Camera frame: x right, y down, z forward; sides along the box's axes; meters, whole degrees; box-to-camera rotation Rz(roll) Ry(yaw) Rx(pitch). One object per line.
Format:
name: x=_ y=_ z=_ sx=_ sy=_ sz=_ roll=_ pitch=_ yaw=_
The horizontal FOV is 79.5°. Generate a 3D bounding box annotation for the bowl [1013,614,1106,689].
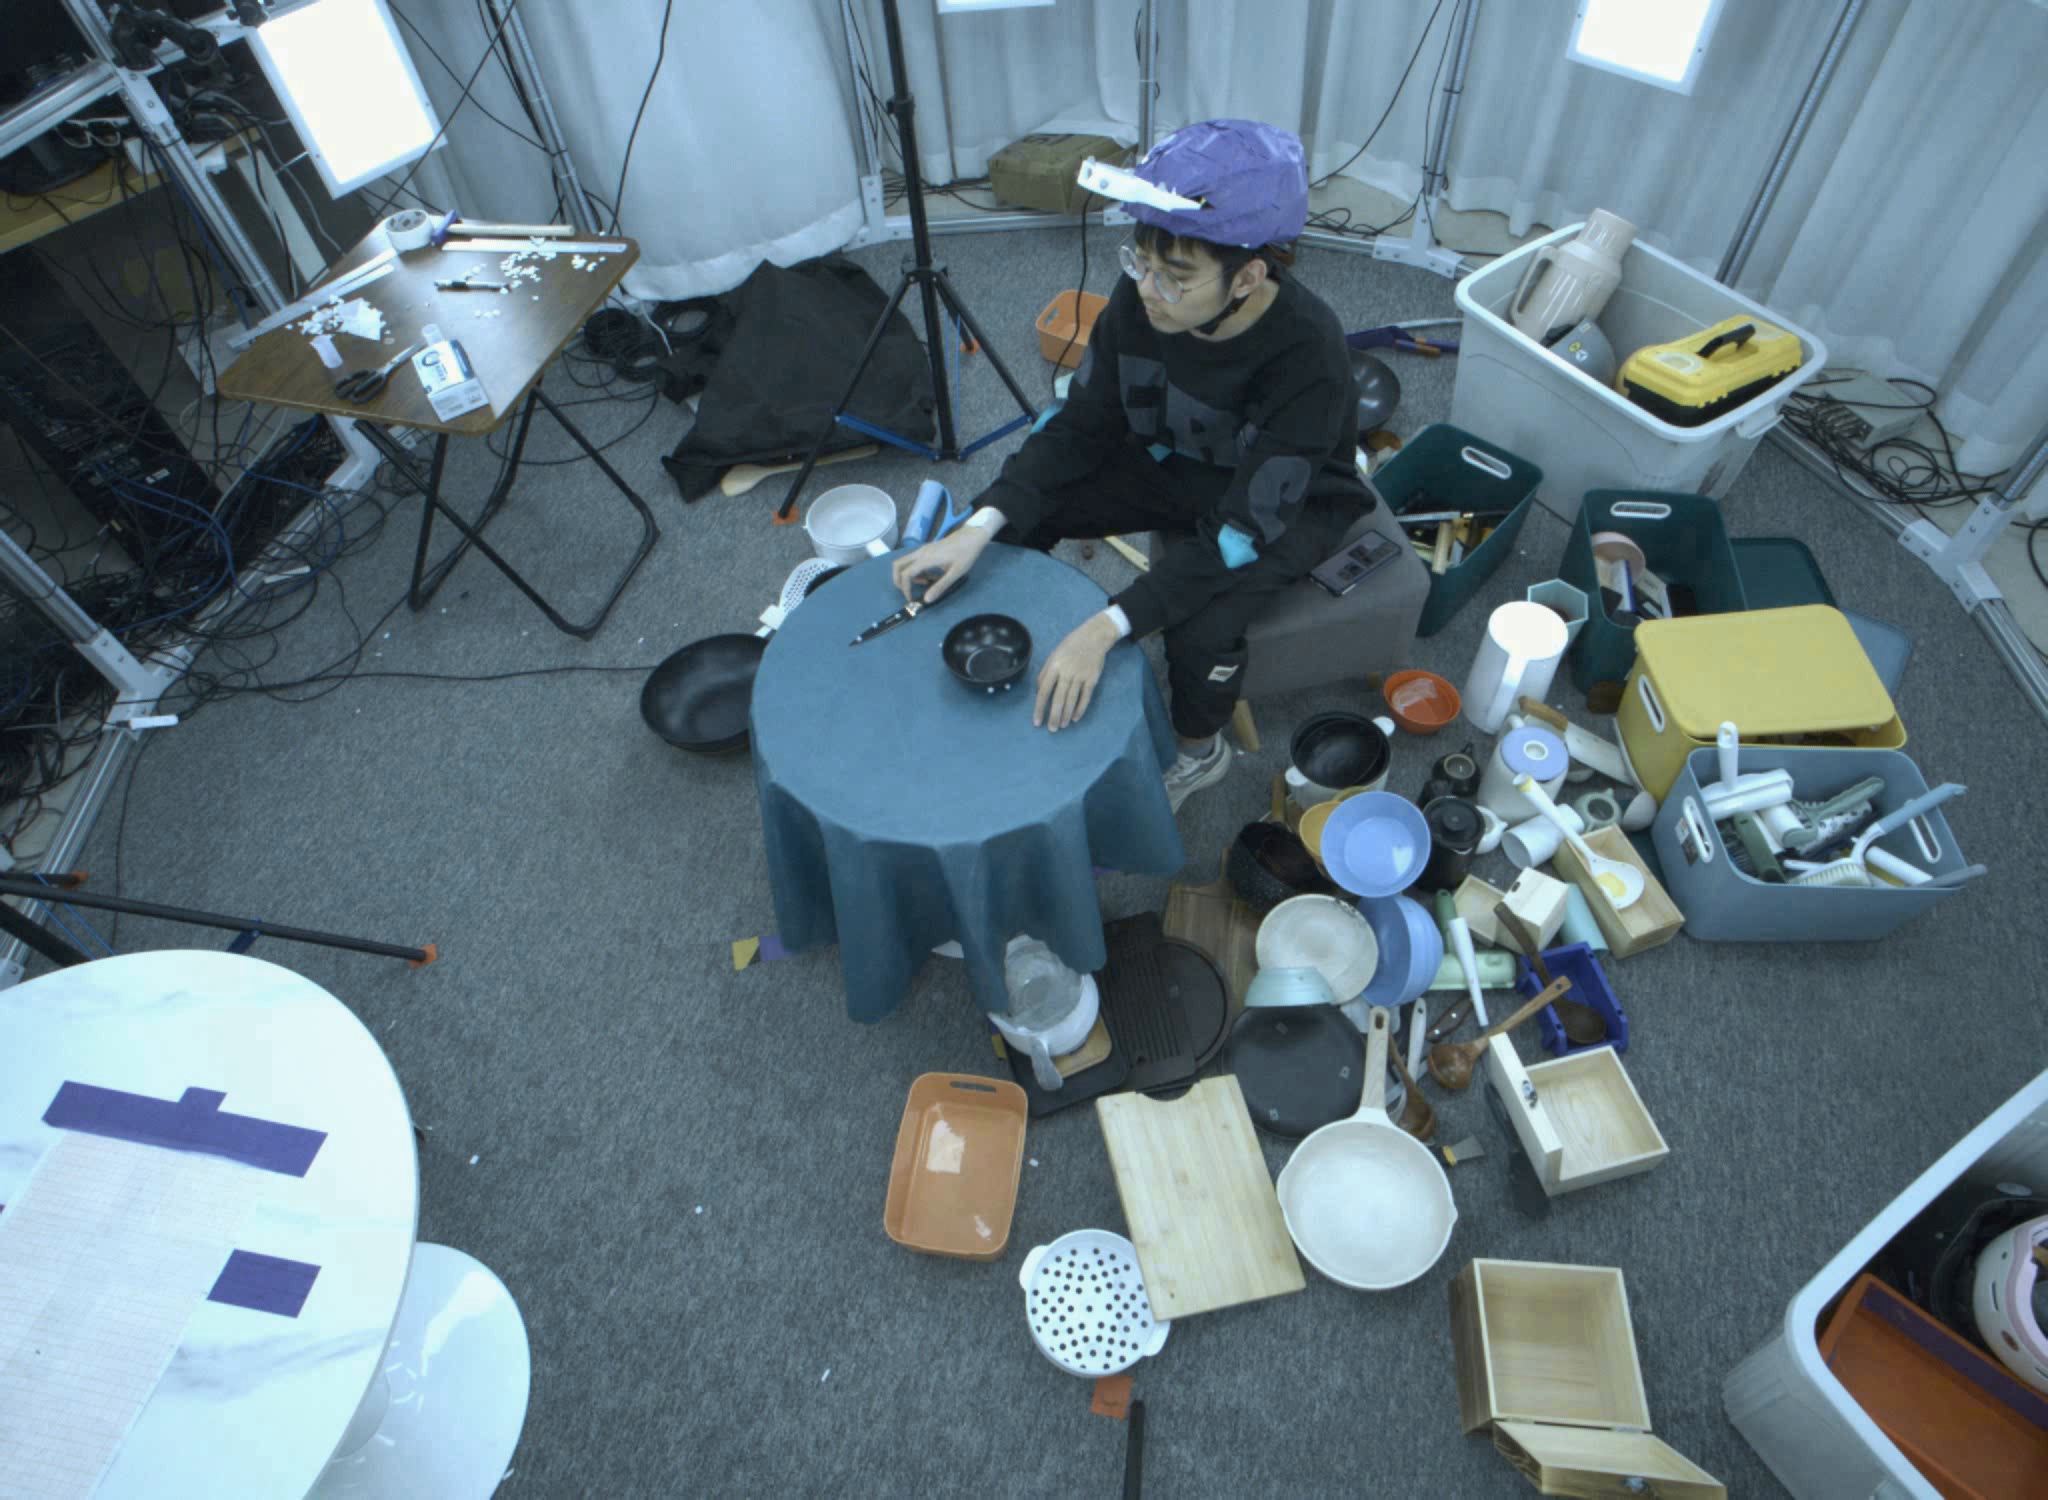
bowl: x=0.054 y=-0.140 z=1.857 sx=0.140 sy=0.050 sz=0.138 roll=0 pitch=51 yaw=1

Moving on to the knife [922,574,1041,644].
knife: x=-0.068 y=-0.224 z=1.941 sx=0.227 sy=0.017 sz=0.026 roll=-29 pitch=61 yaw=-16
